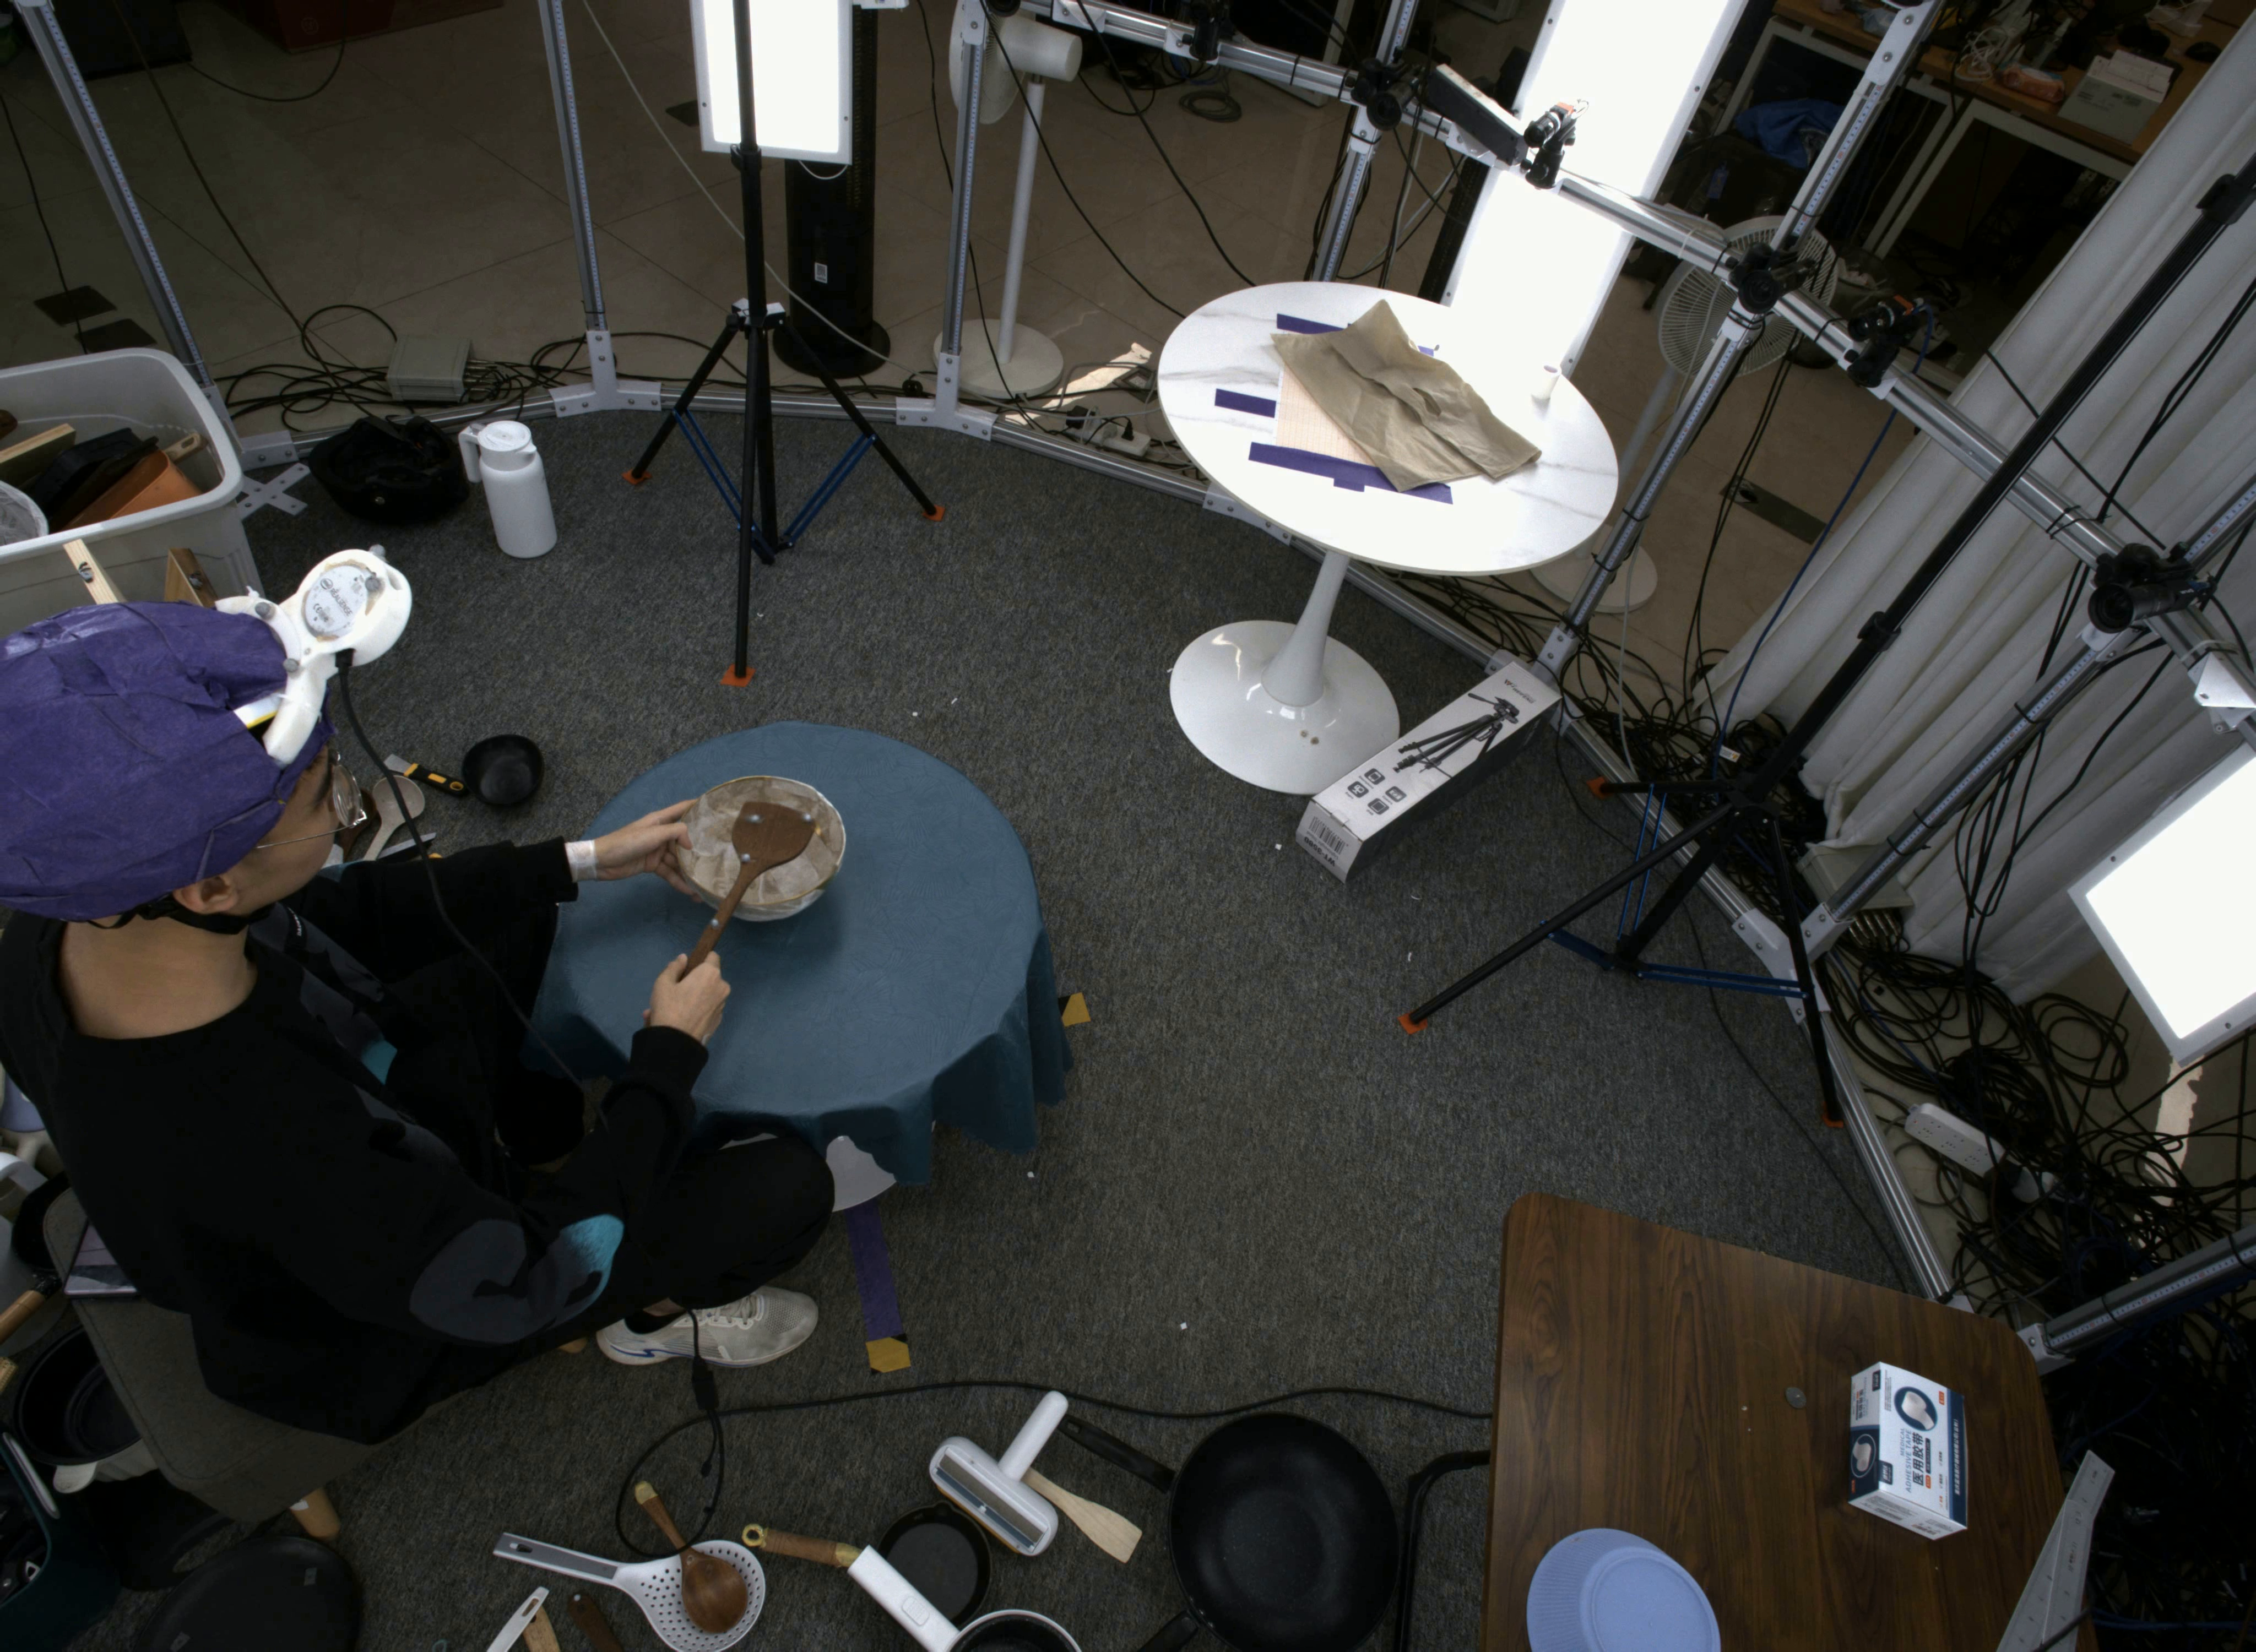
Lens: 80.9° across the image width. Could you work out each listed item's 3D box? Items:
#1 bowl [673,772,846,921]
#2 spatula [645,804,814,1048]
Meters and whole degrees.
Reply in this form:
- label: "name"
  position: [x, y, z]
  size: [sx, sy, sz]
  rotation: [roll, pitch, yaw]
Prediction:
- label: "bowl"
  position: [-0.456, 0.039, 1.604]
  size: [0.214, 0.096, 0.211]
  rotation: [8, 53, -9]
- label: "spatula"
  position: [-0.459, 0.100, 1.463]
  size: [0.095, 0.016, 0.380]
  rotation: [17, 41, -2]
